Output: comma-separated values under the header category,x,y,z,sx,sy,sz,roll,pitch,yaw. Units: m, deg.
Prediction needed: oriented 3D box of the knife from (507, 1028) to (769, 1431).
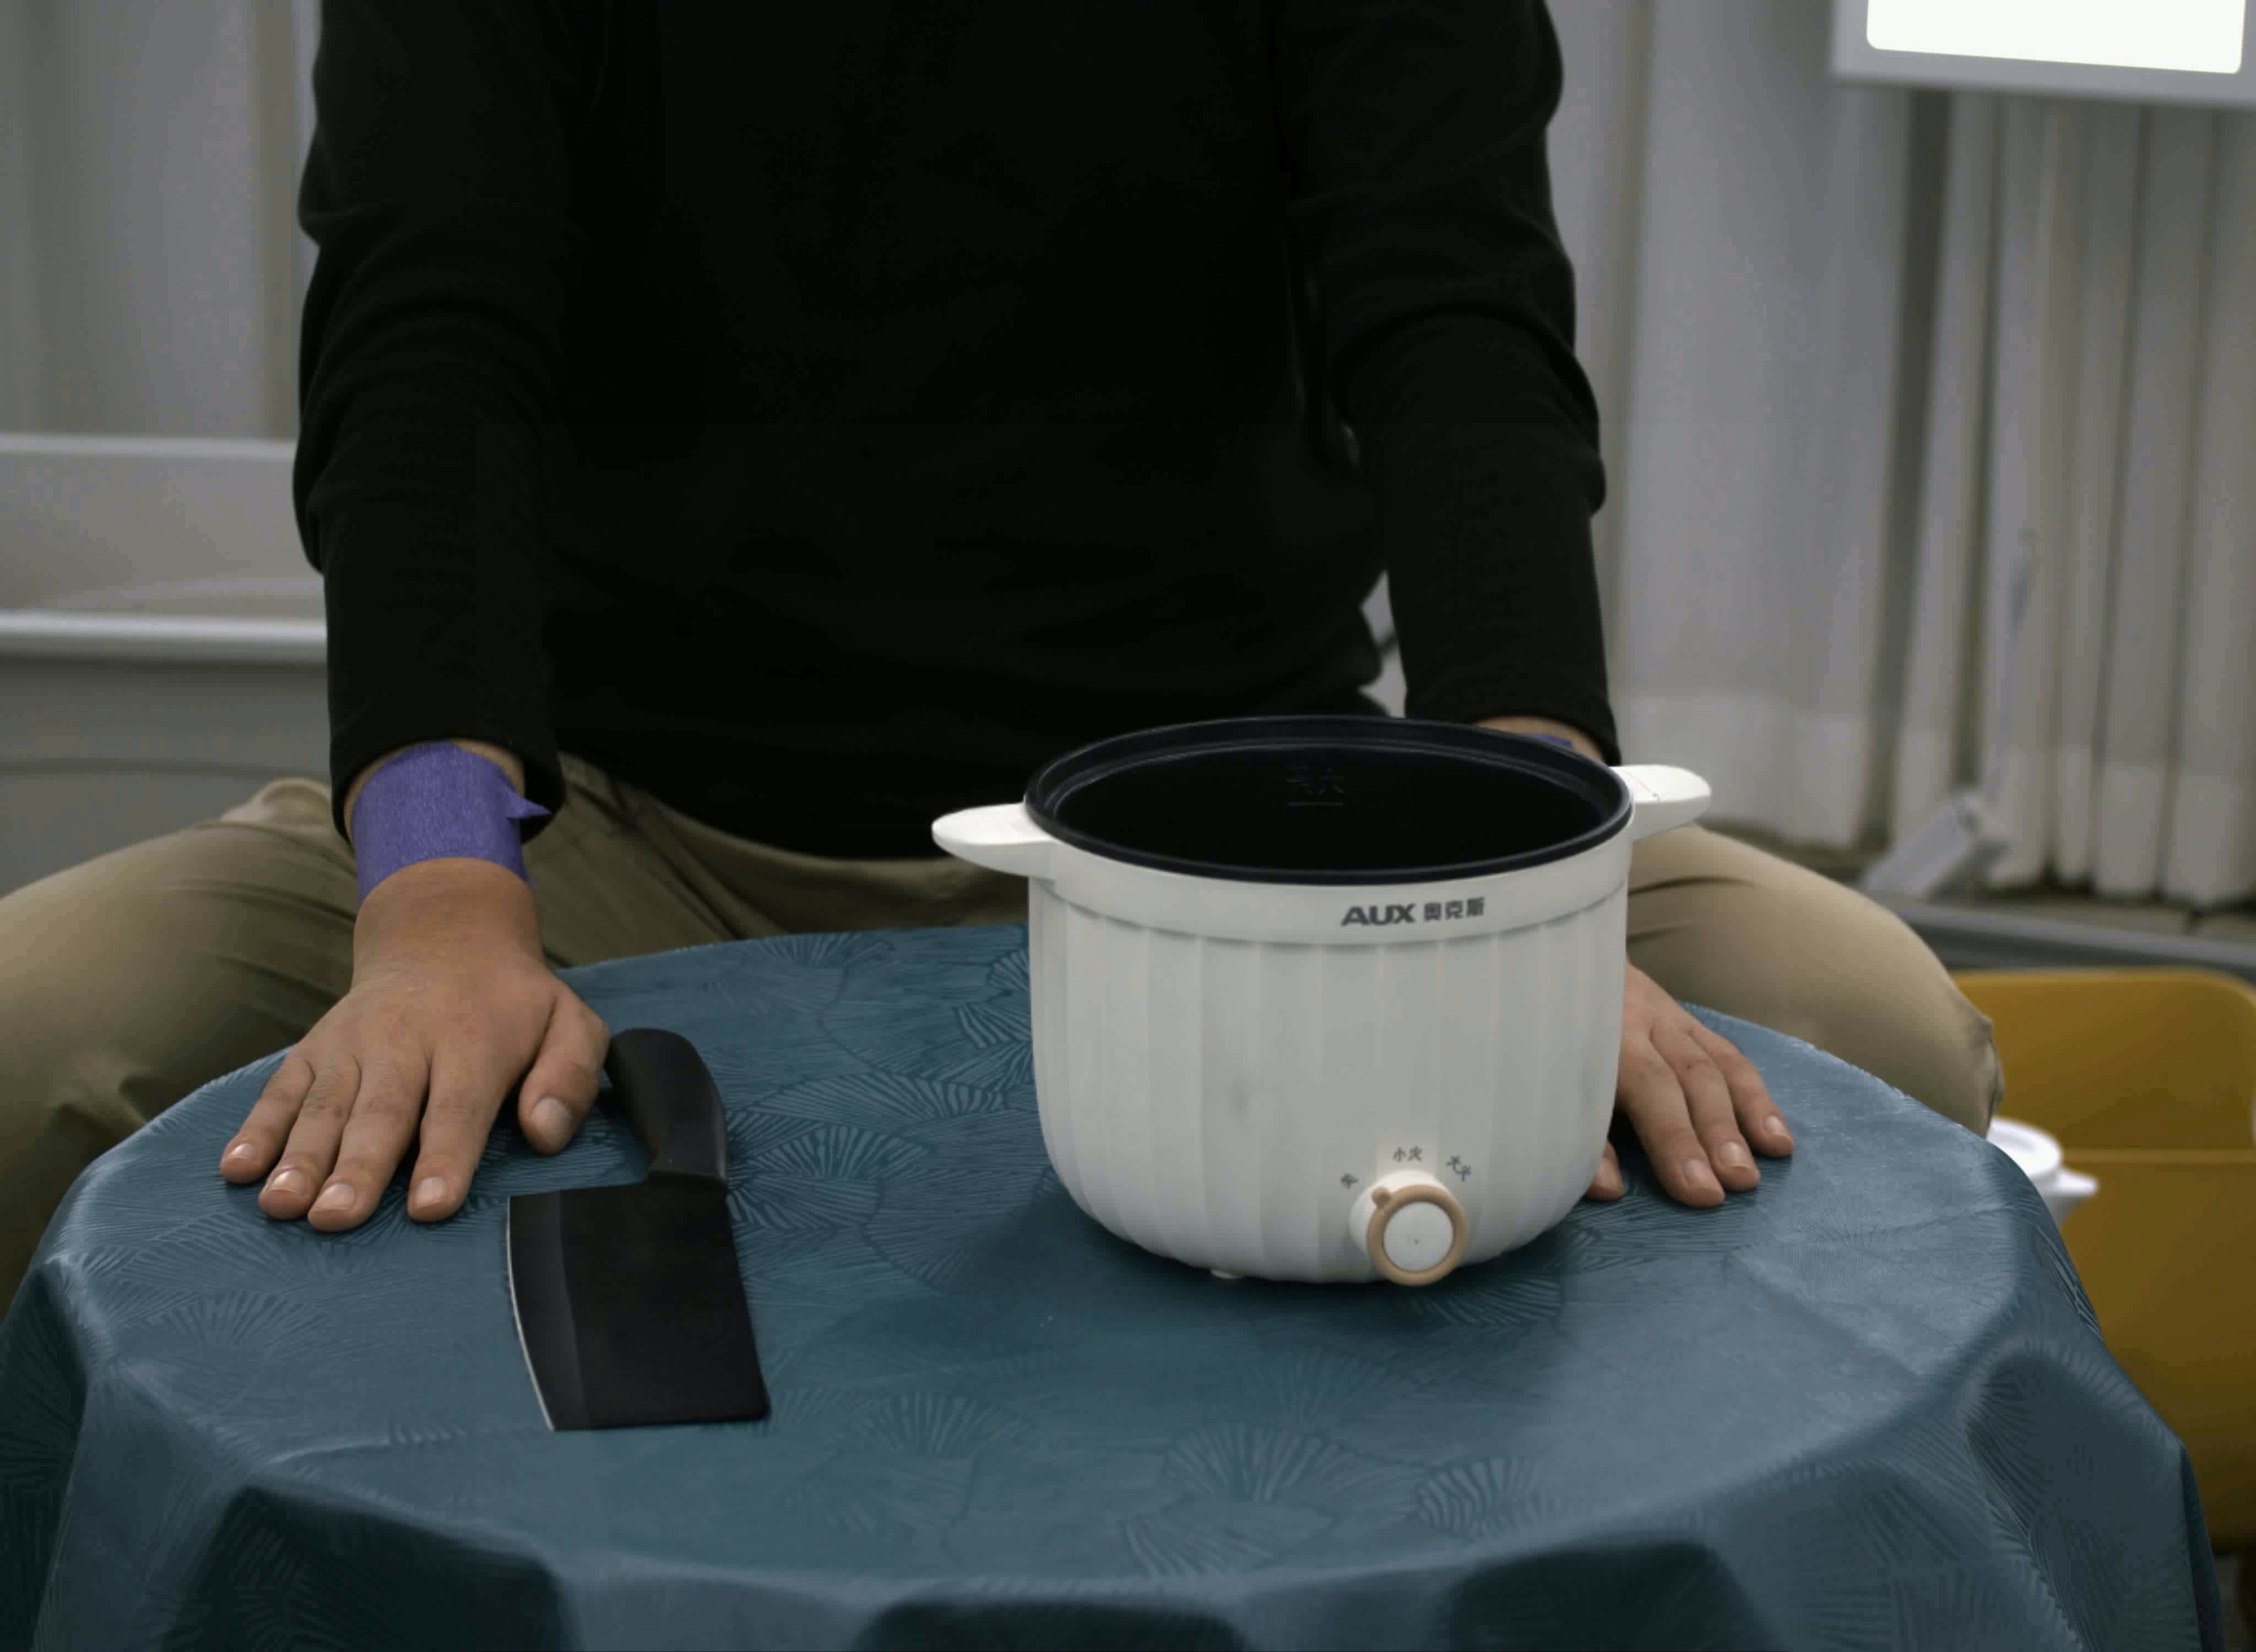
category,x,y,z,sx,sy,sz,roll,pitch,yaw
knife,-0.146,0.118,1.572,0.081,0.021,0.300,-2,18,-3

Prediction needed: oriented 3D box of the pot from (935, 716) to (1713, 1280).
category,x,y,z,sx,sy,sz,roll,pitch,yaw
pot,0.062,0.054,1.575,0.240,0.144,0.189,-5,13,-14
